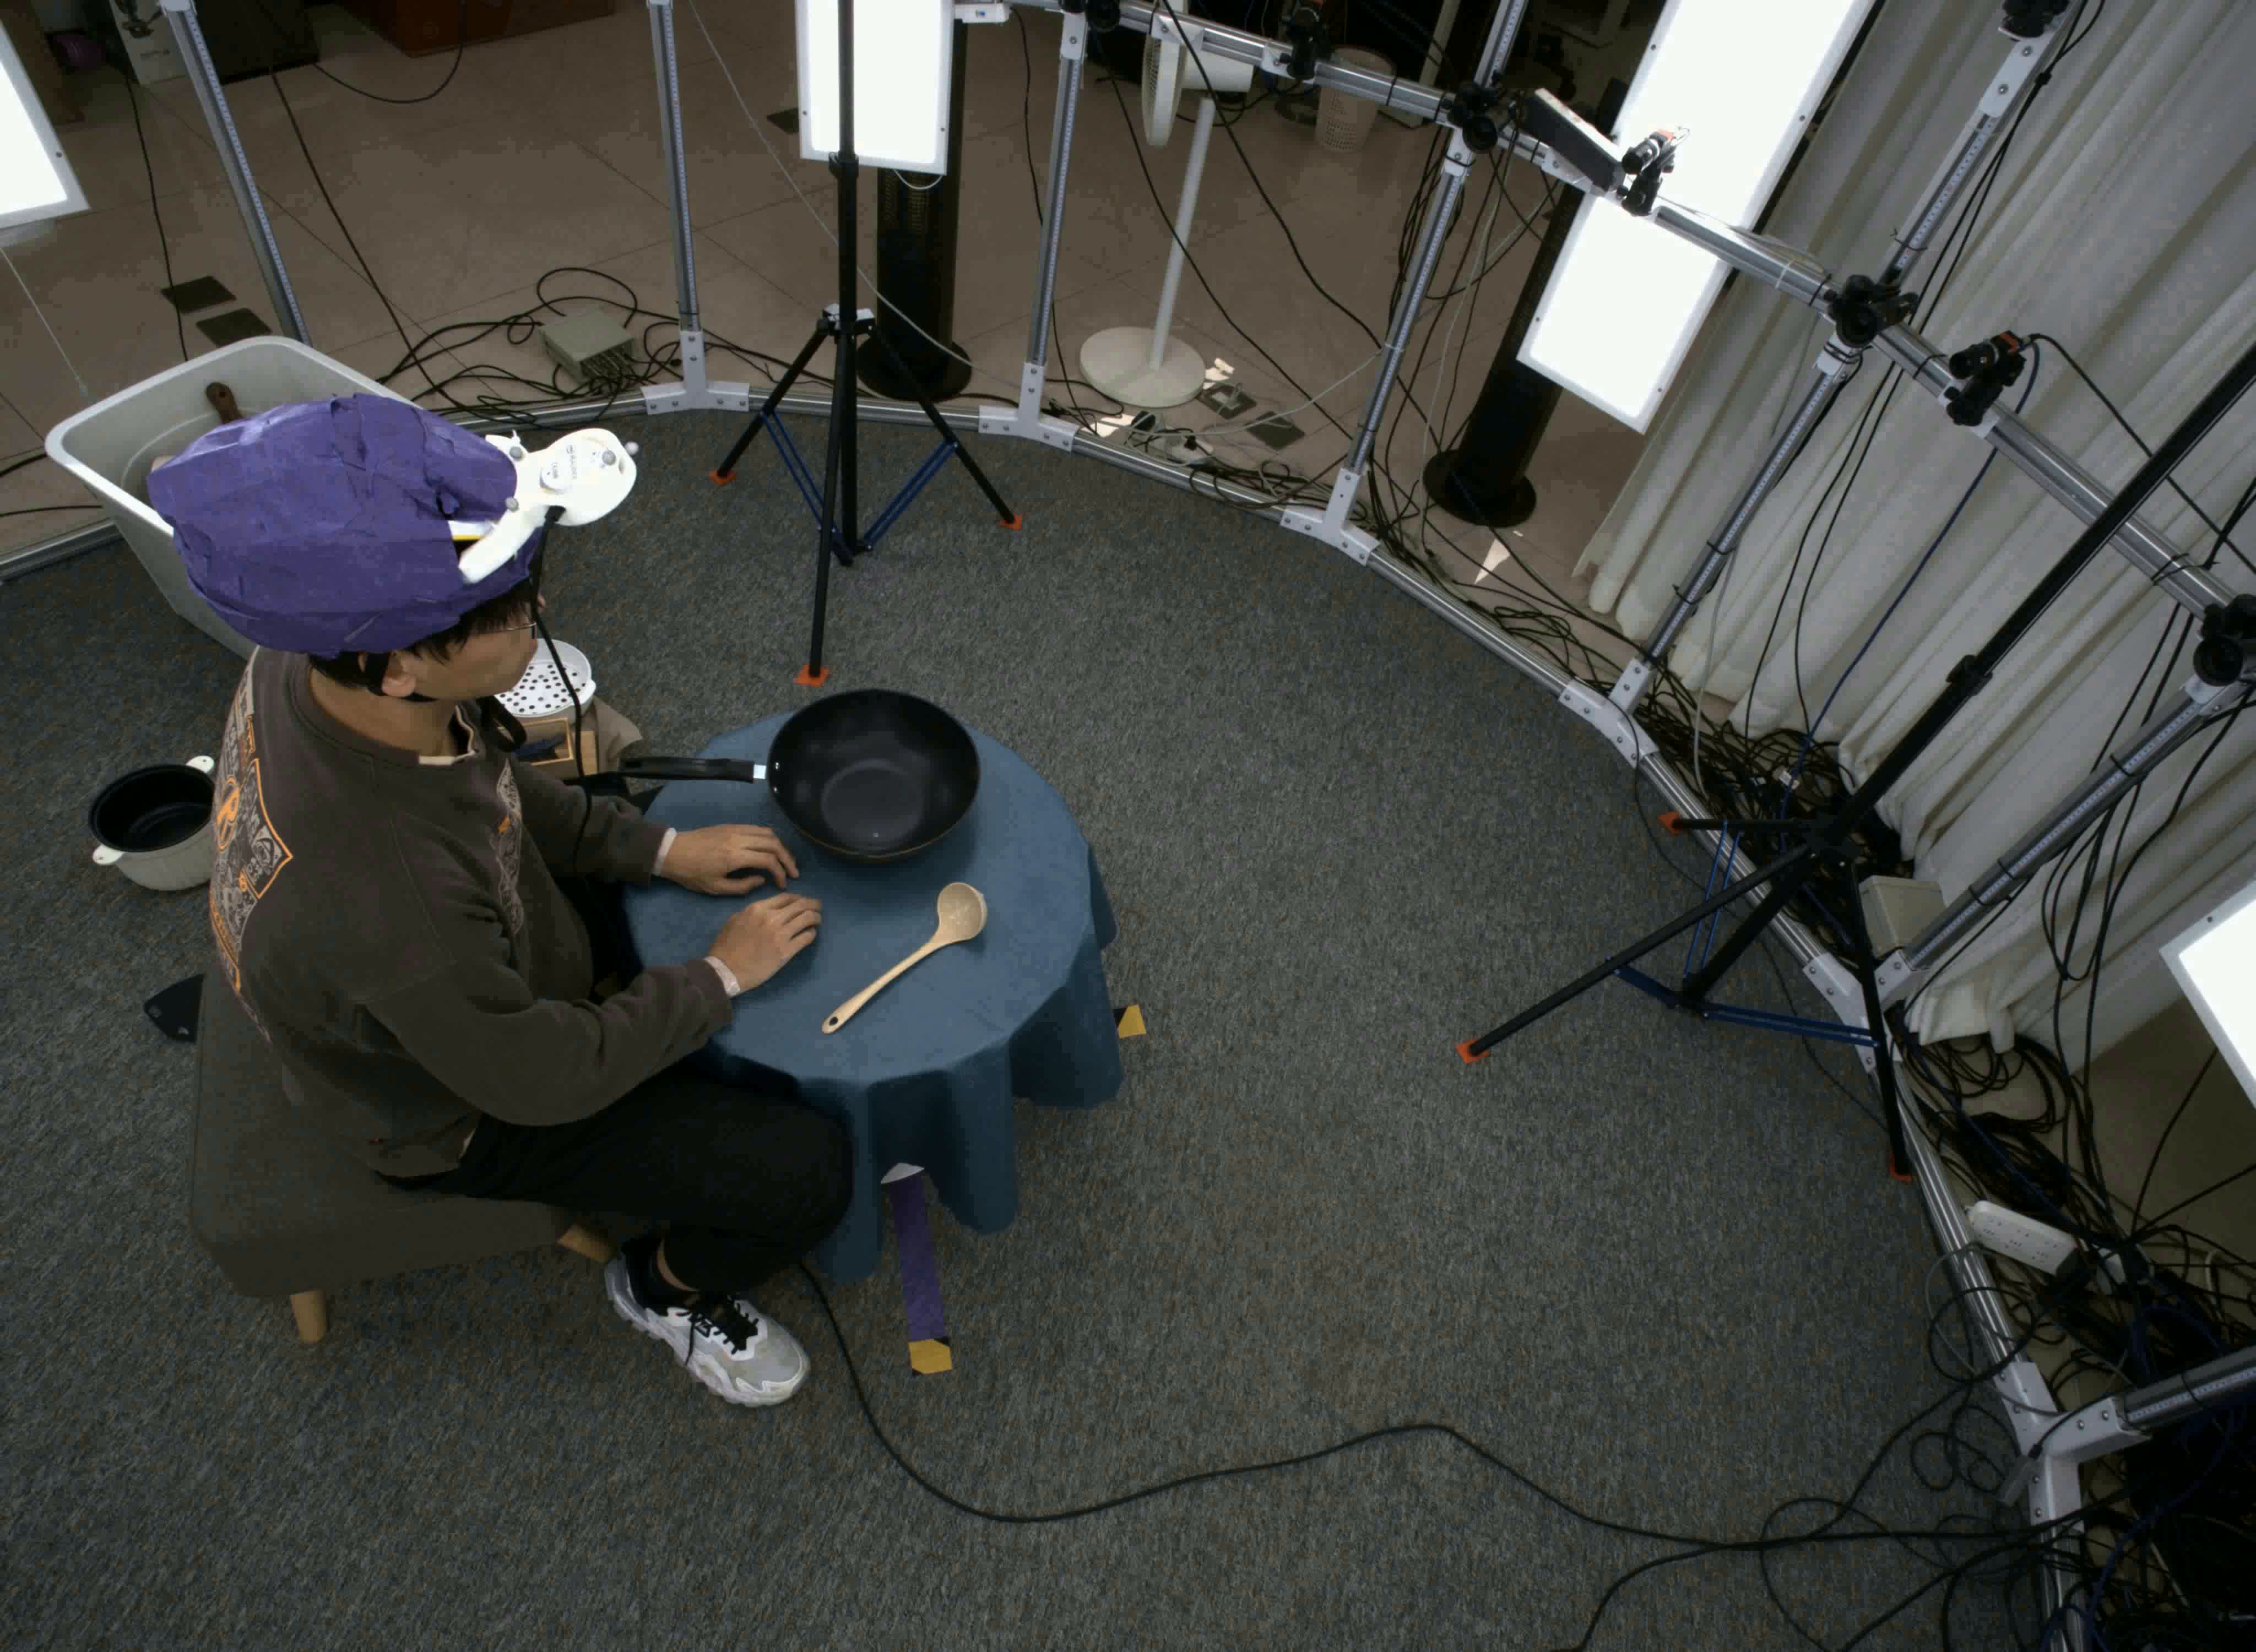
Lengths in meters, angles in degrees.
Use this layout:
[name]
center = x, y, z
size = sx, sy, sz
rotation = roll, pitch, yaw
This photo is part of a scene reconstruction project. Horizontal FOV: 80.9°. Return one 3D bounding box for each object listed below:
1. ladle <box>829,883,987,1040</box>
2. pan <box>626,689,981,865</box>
[ladle]
center = -0.275, 0.162, 1.610
size = 0.071, 0.074, 0.254
rotation = 40, 55, 12
[pan]
center = -0.427, -0.052, 1.723
size = 0.463, 0.089, 0.282
rotation = 0, 55, -12
